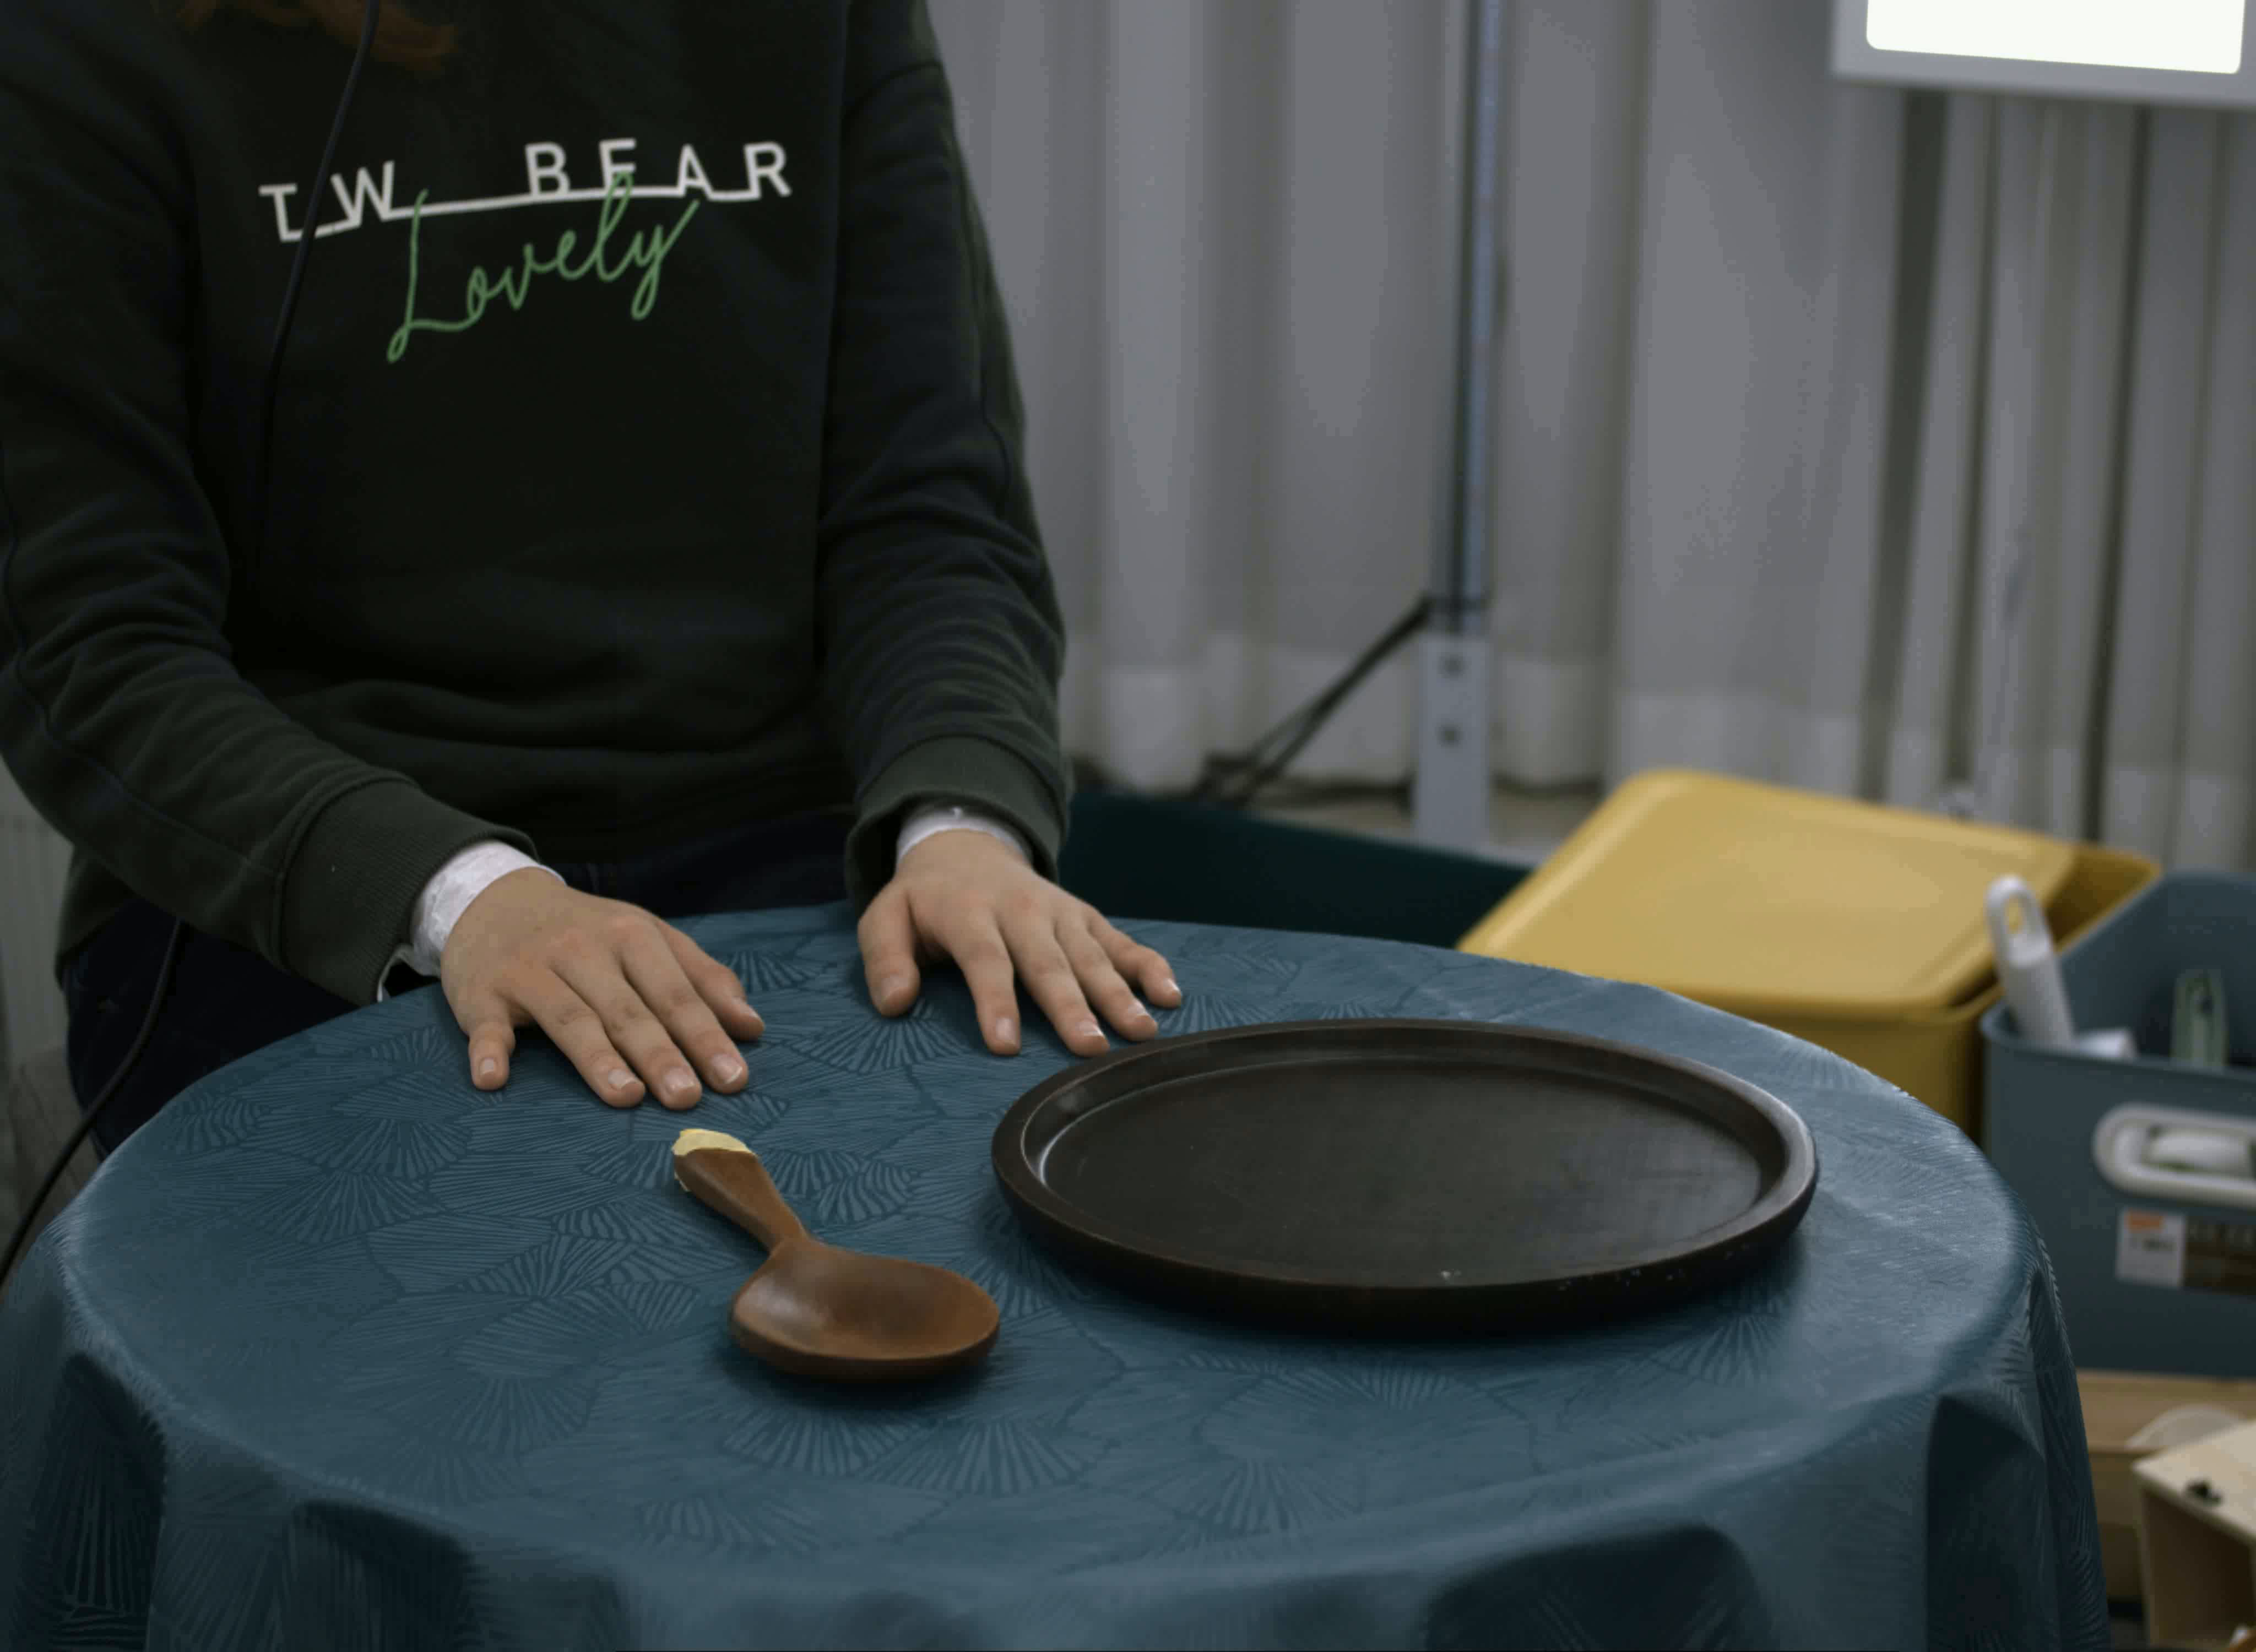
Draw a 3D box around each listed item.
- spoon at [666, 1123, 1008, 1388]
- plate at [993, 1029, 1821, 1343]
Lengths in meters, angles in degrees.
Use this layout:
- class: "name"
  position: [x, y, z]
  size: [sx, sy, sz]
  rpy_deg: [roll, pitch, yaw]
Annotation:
- class: "spoon"
  position: [-0.095, 0.126, 1.543]
  size: [0.076, 0.017, 0.213]
  rpy_deg: [-6, 17, -21]
- class: "plate"
  position: [0.085, 0.107, 1.611]
  size: [0.254, 0.029, 0.253]
  rpy_deg: [2, 16, 0]
